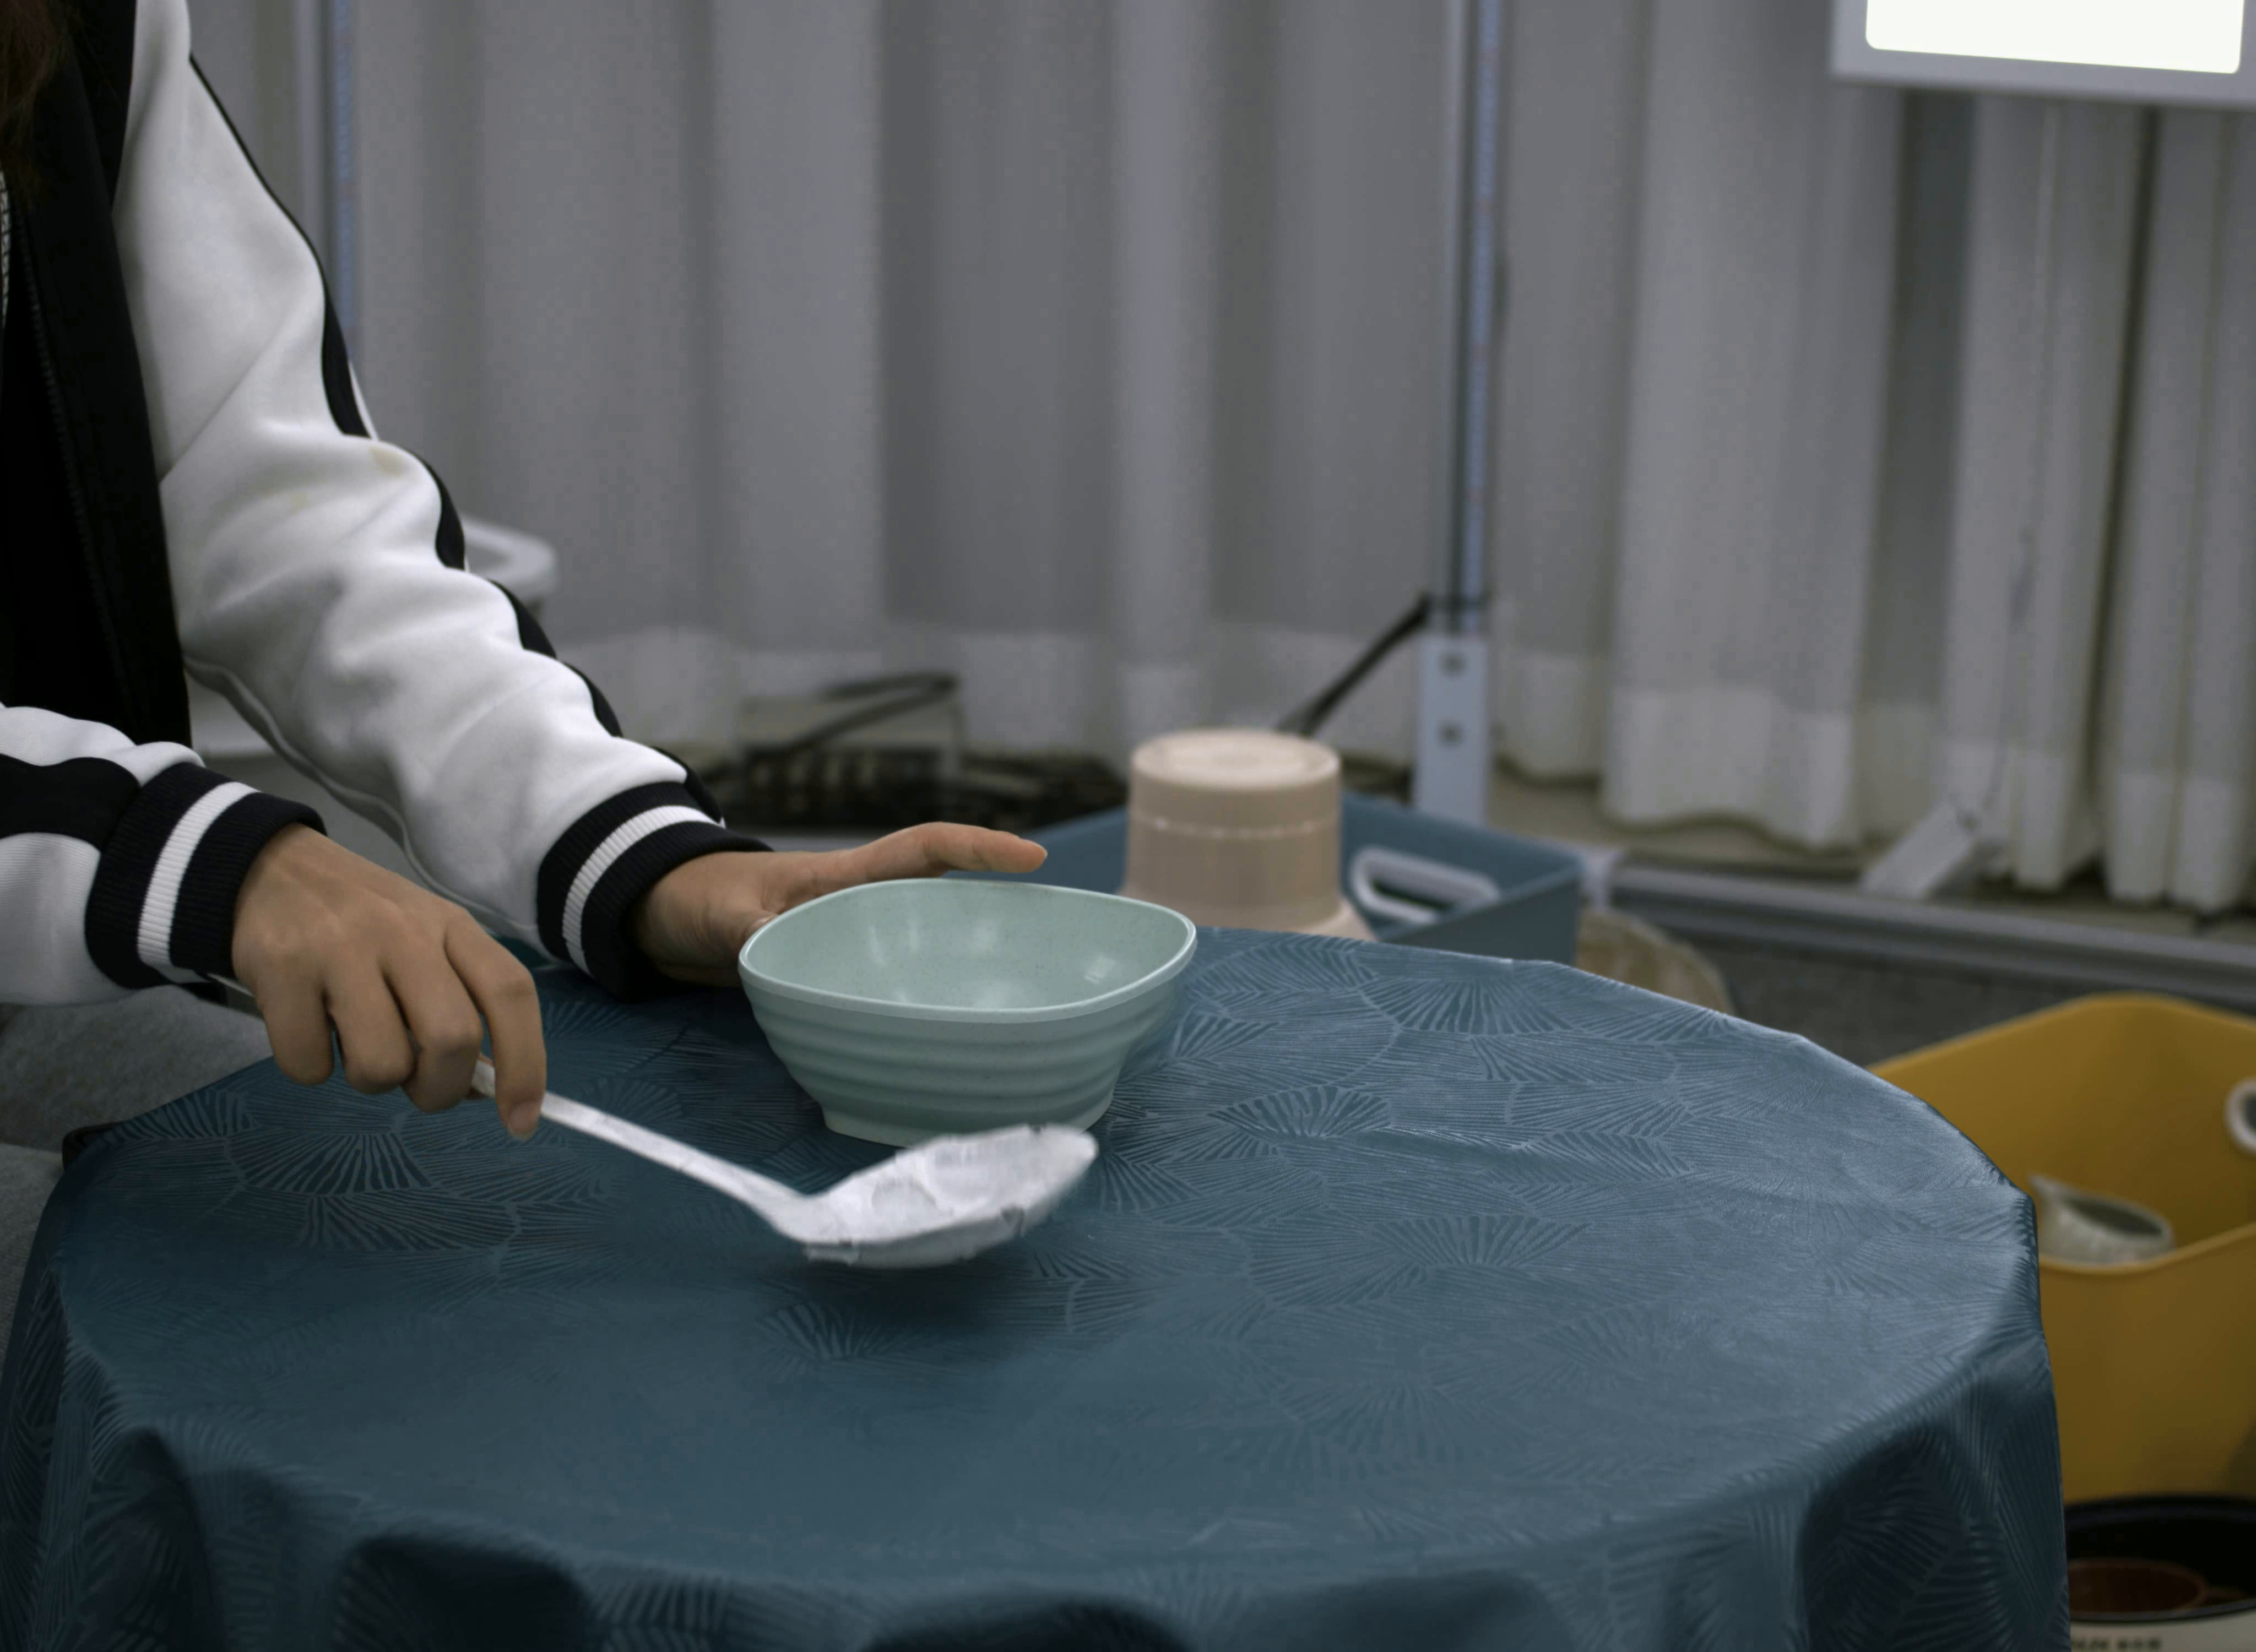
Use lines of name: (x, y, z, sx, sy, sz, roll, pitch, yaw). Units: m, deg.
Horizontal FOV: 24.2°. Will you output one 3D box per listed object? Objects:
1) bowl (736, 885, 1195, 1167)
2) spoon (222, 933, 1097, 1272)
bowl: (-0.051, 0.067, 1.687, 0.151, 0.059, 0.150, 1, 16, 0)
spoon: (-0.141, 0.067, 1.556, 0.275, 0.060, 0.101, 25, 16, 13)
